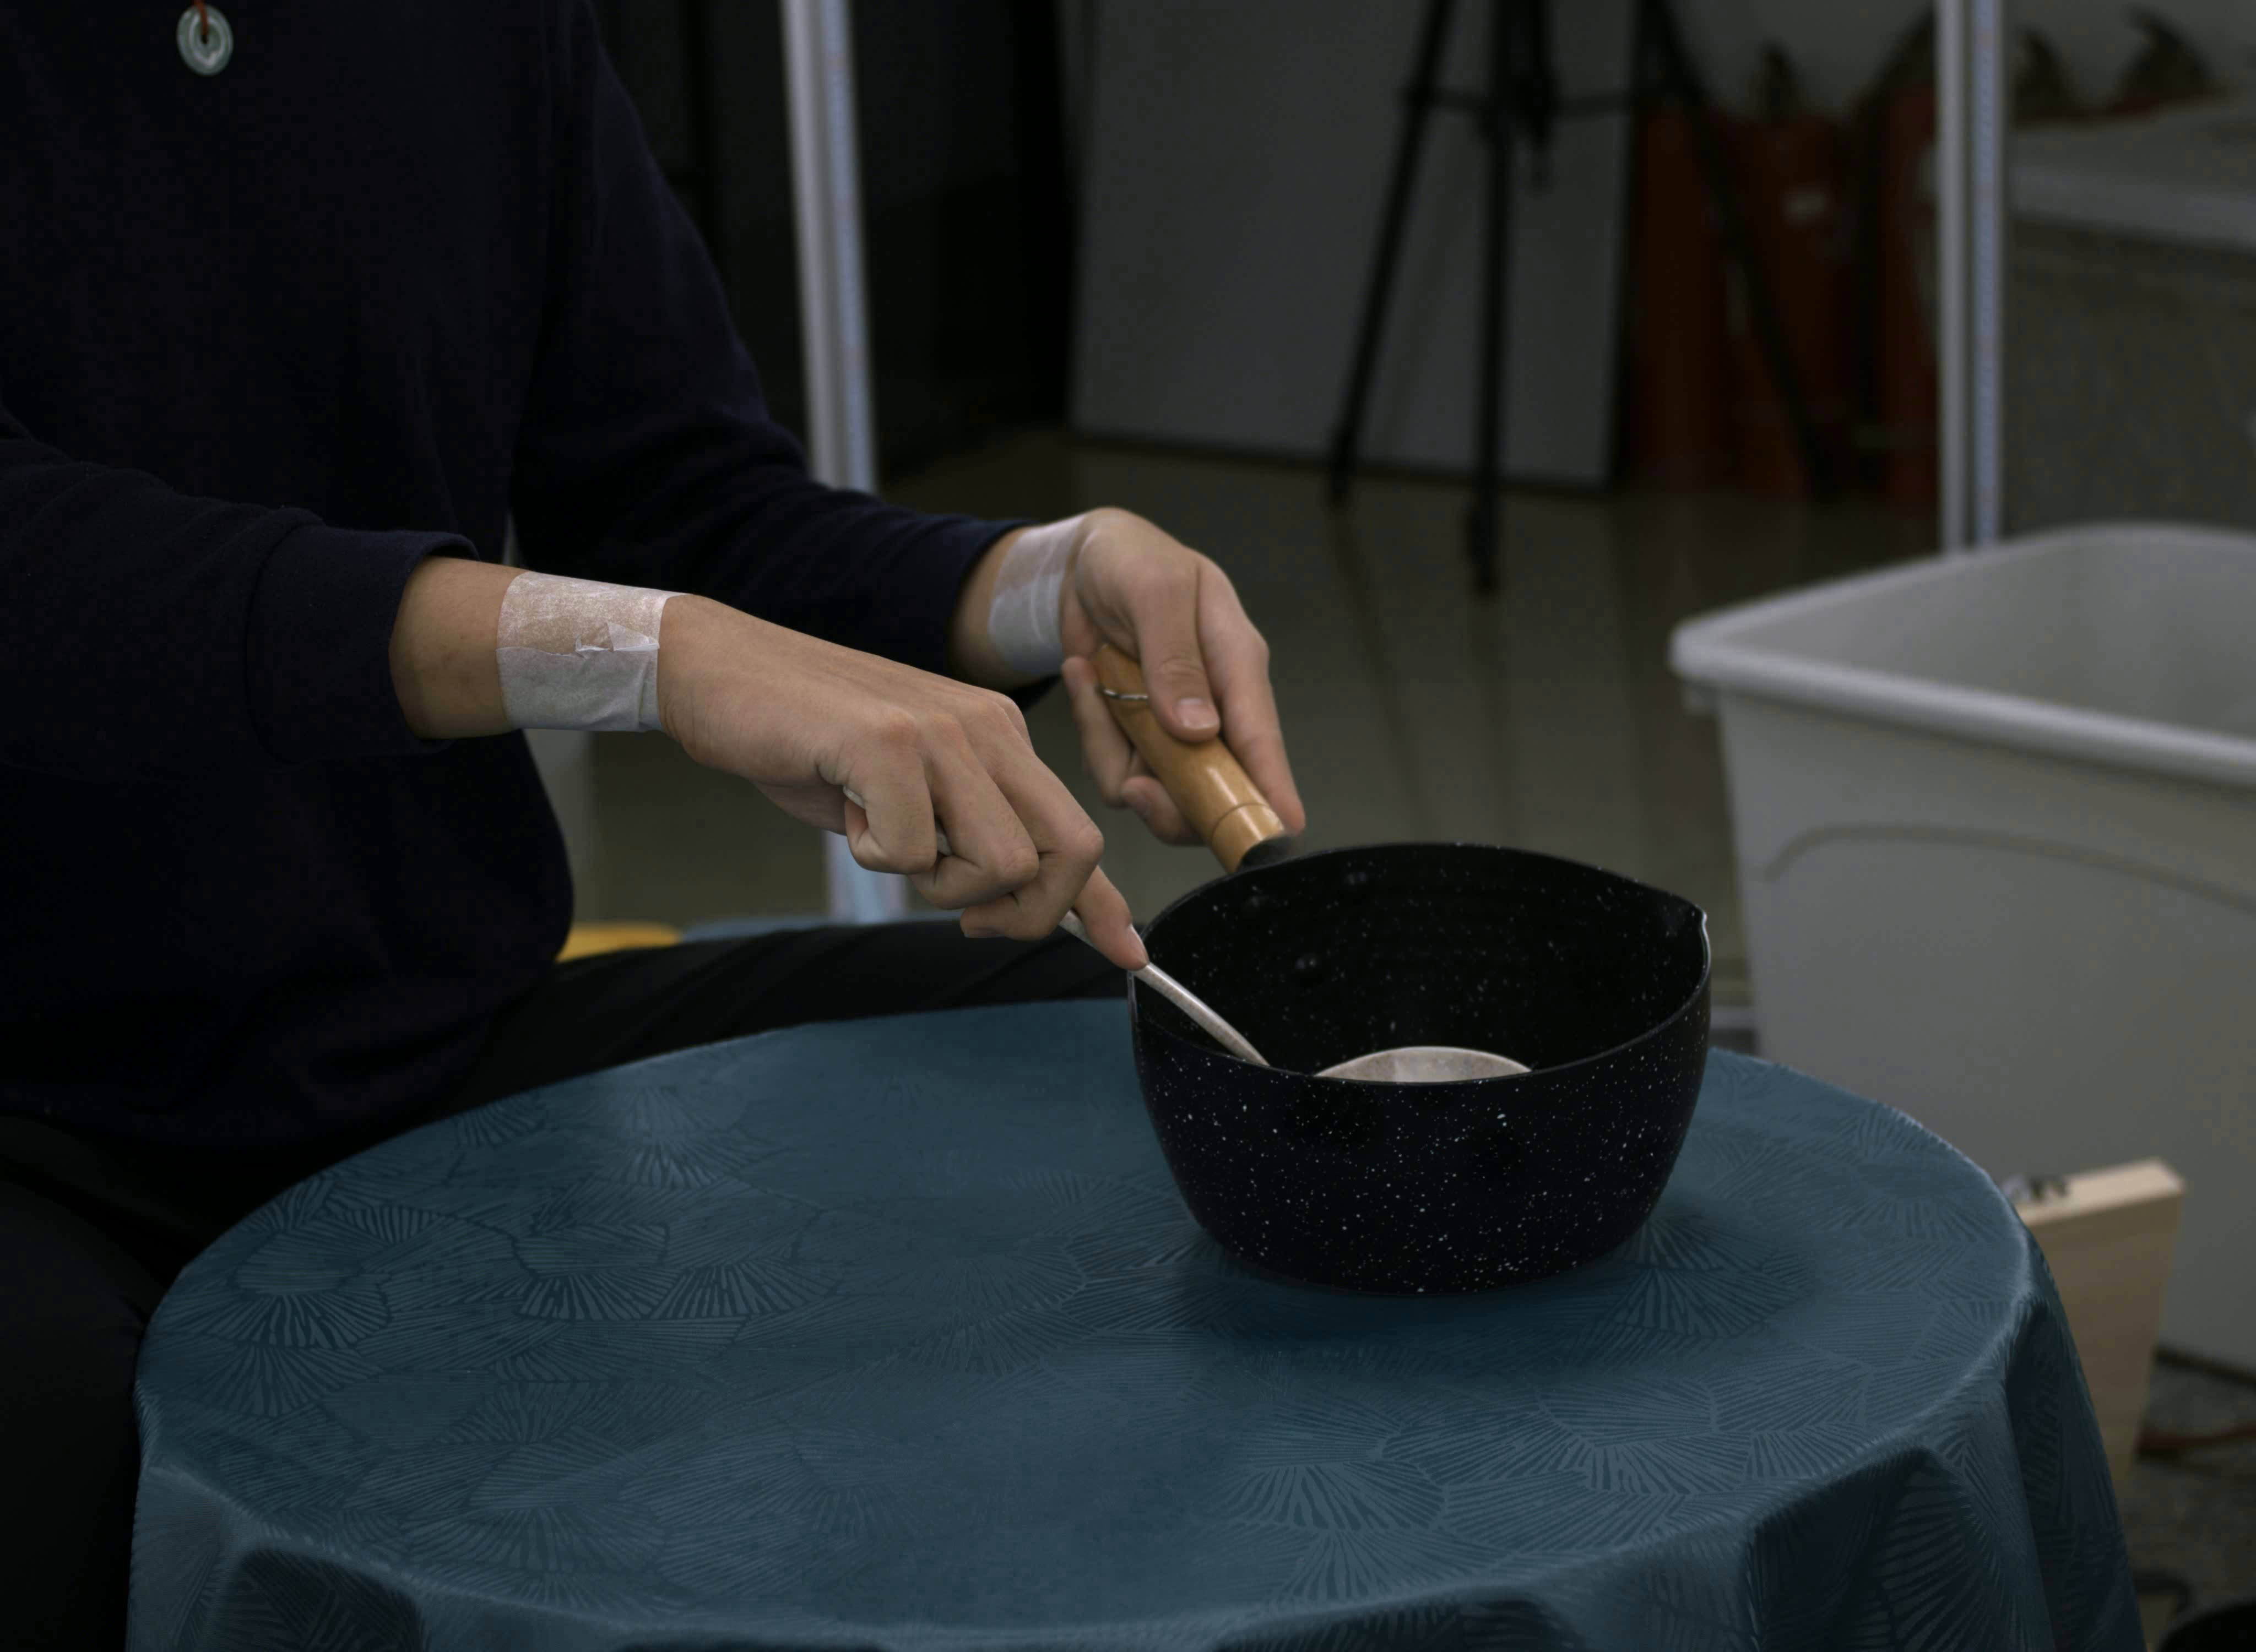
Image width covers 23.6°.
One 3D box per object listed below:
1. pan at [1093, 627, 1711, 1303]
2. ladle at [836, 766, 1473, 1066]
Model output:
[{"bbox_3d":[0.061,0.040,1.766,0.203,0.109,0.346,-12,25,-20],"label":"pan"},{"bbox_3d":[0.024,0.034,1.633,0.069,0.271,0.090,-47,33,4],"label":"ladle"}]
